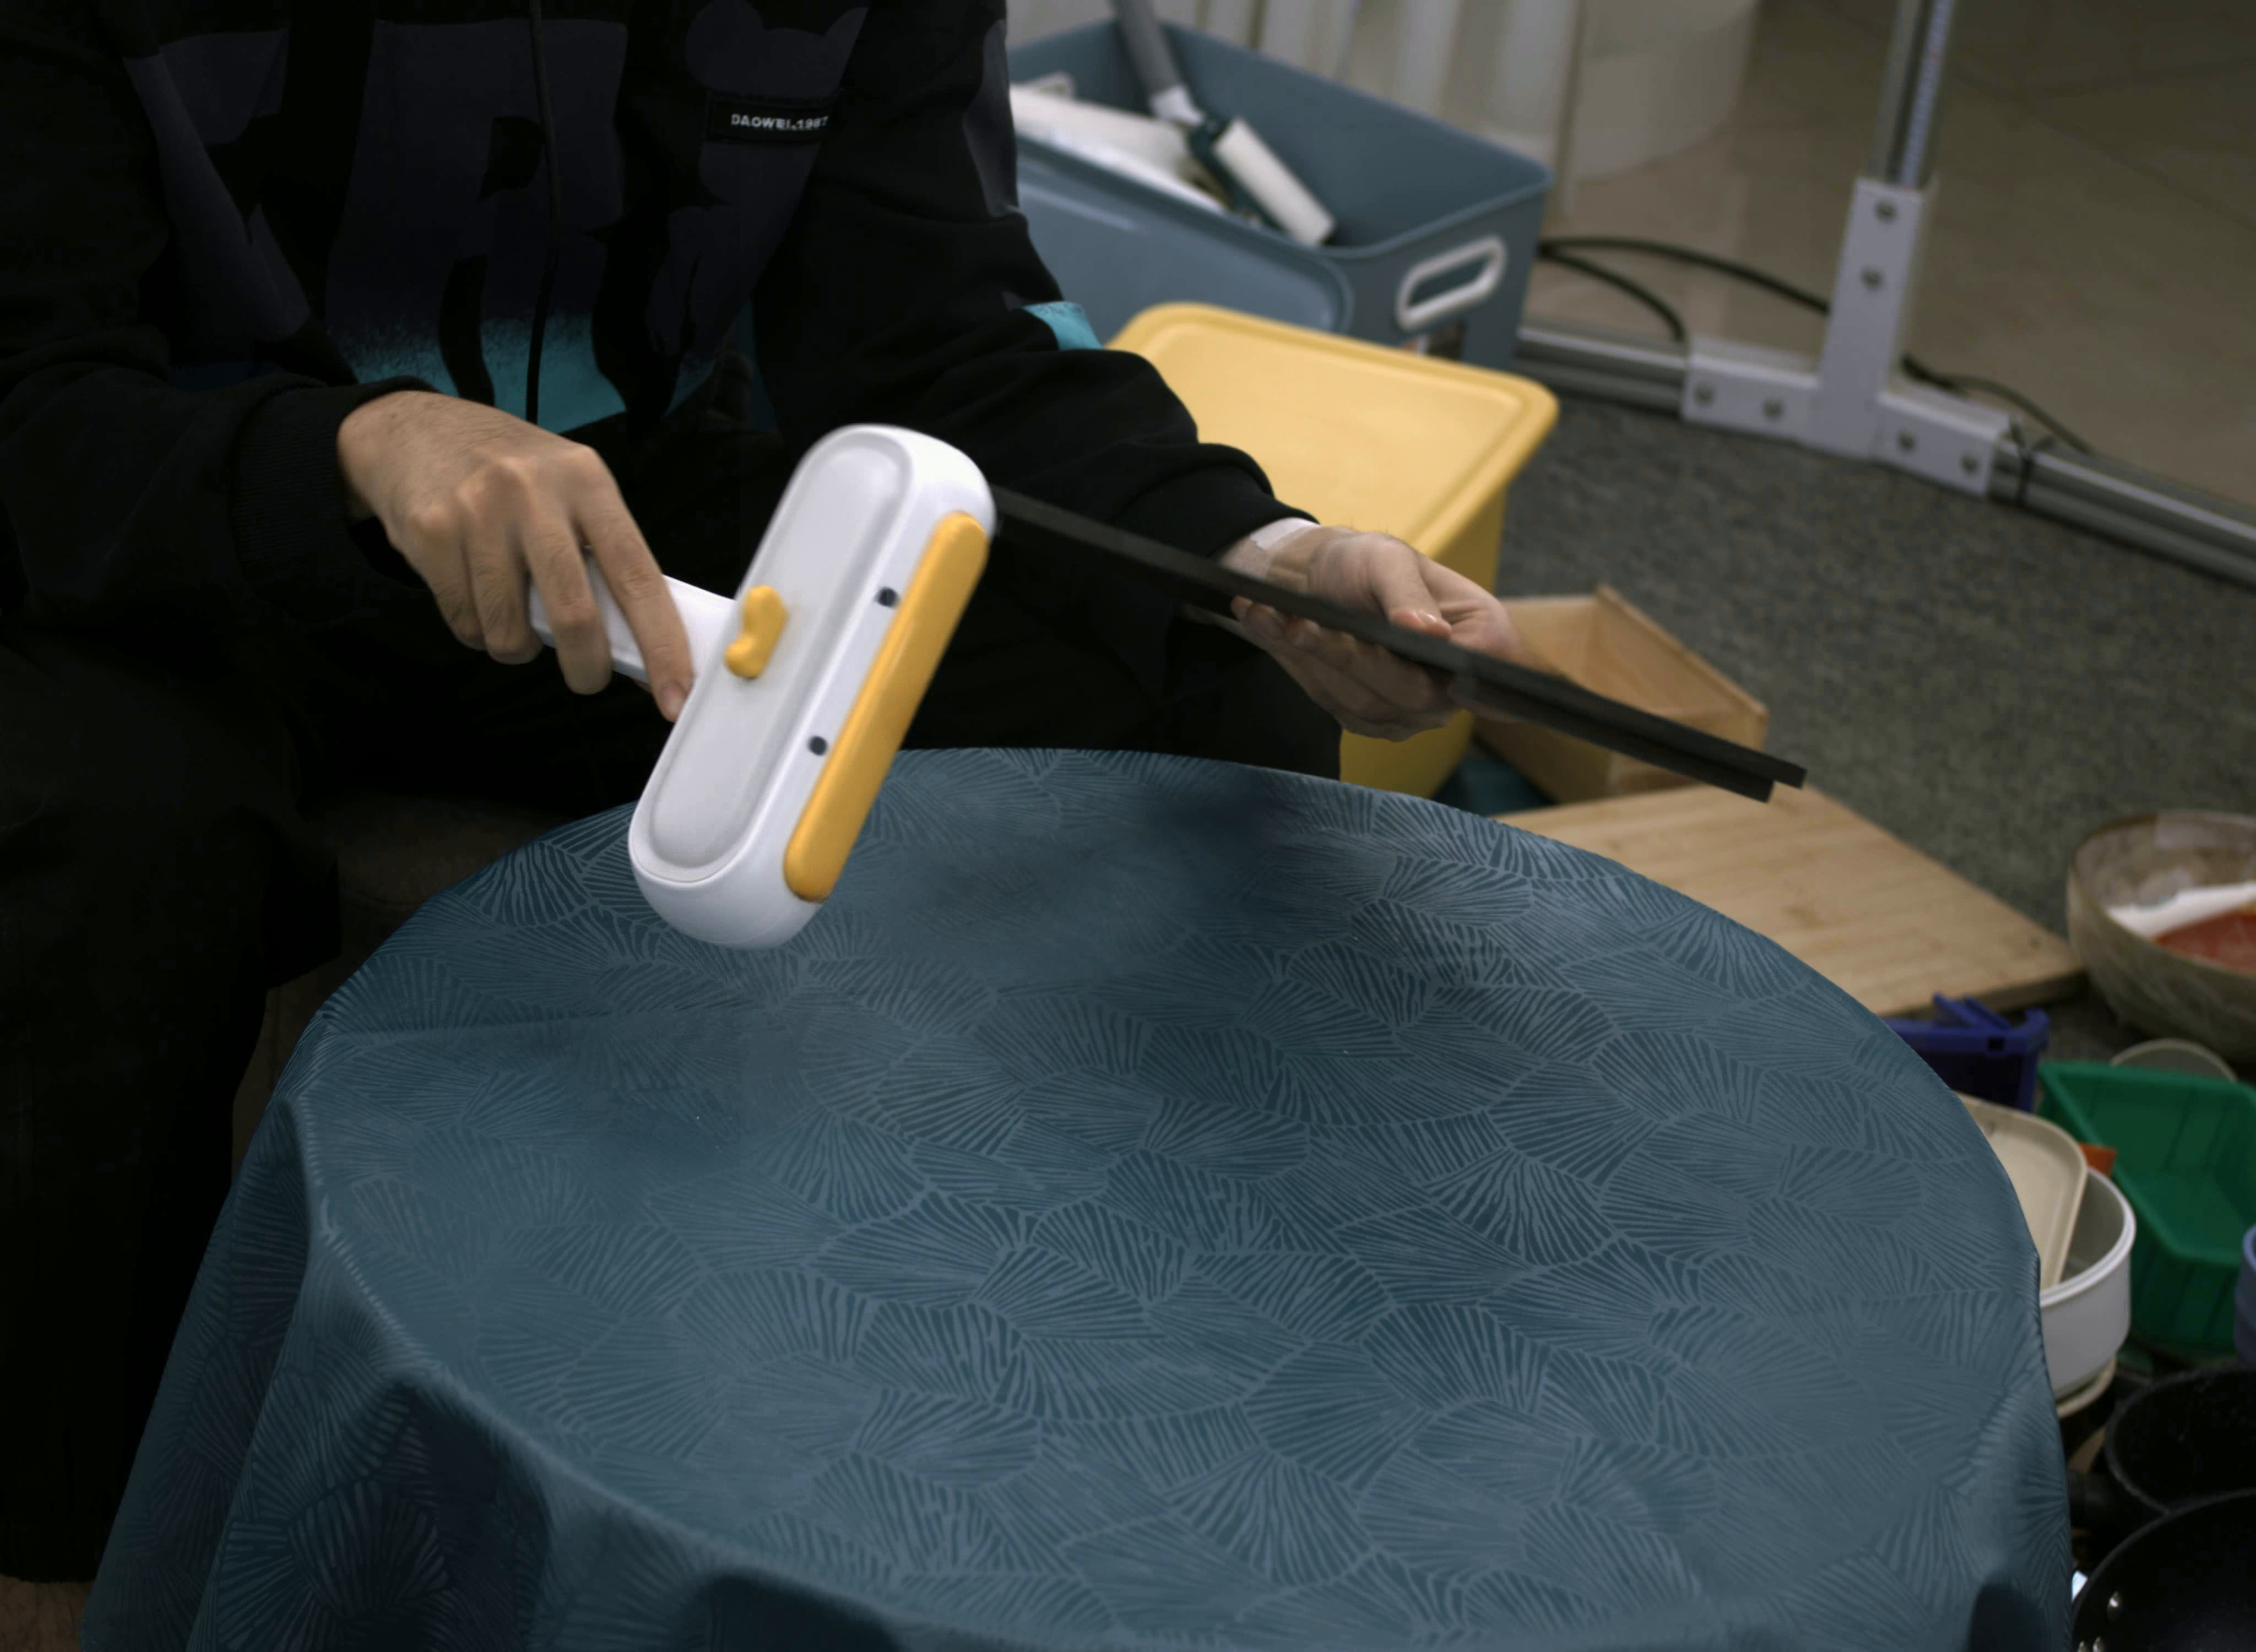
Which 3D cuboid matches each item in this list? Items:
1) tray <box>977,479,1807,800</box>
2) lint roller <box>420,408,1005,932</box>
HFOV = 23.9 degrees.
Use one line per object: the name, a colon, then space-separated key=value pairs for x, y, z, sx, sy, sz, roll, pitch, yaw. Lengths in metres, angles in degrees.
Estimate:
tray: x=0.088 y=-0.068 z=1.918 sx=0.168 sy=0.018 sz=0.308 roll=19 pitch=1 yaw=-40
lint roller: x=-0.157 y=-0.069 z=1.858 sx=0.193 sy=0.193 sz=0.073 roll=13 pitch=-15 yaw=28
